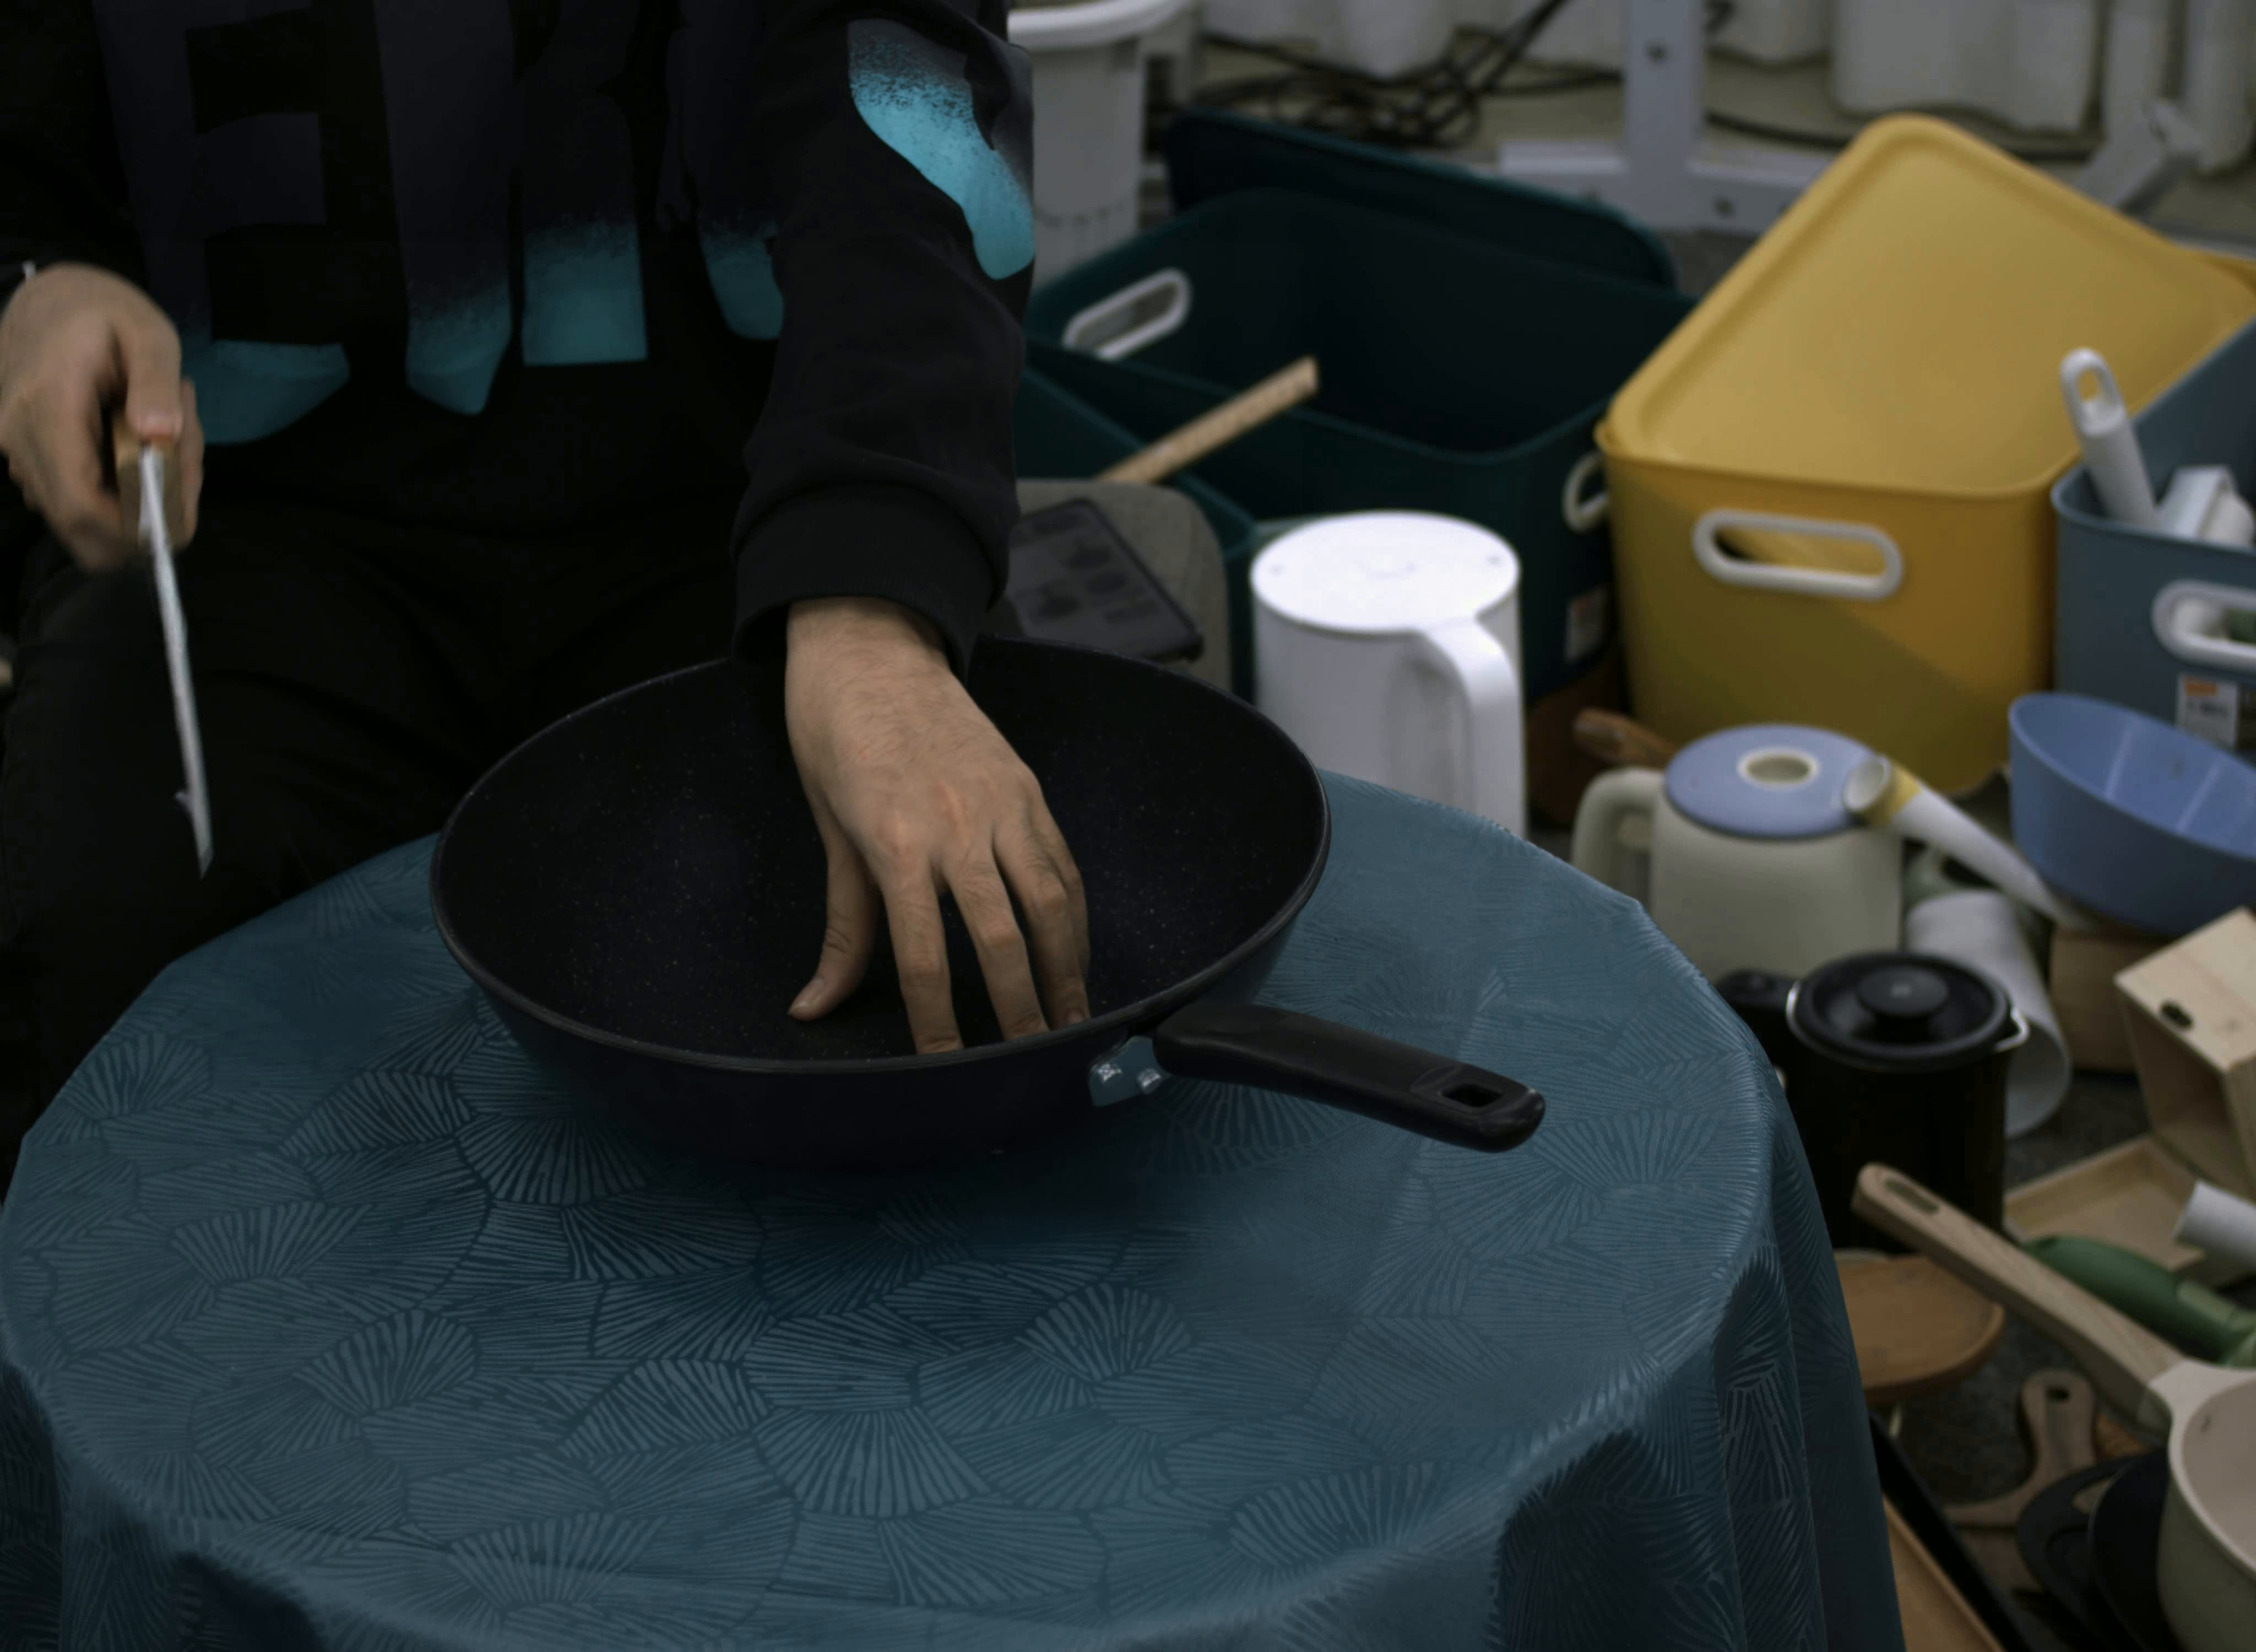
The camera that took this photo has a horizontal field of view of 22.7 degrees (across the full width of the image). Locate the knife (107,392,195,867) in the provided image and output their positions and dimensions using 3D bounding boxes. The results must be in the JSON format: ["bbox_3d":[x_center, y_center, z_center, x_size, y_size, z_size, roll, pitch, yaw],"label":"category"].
[{"bbox_3d":[-0.329,-0.083,1.913,0.022,0.113,0.318,-6,25,-10],"label":"knife"}]

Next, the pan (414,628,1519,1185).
[{"bbox_3d":[-0.035,0.057,1.878,0.313,0.110,0.477,-25,34,-33],"label":"pan"}]
